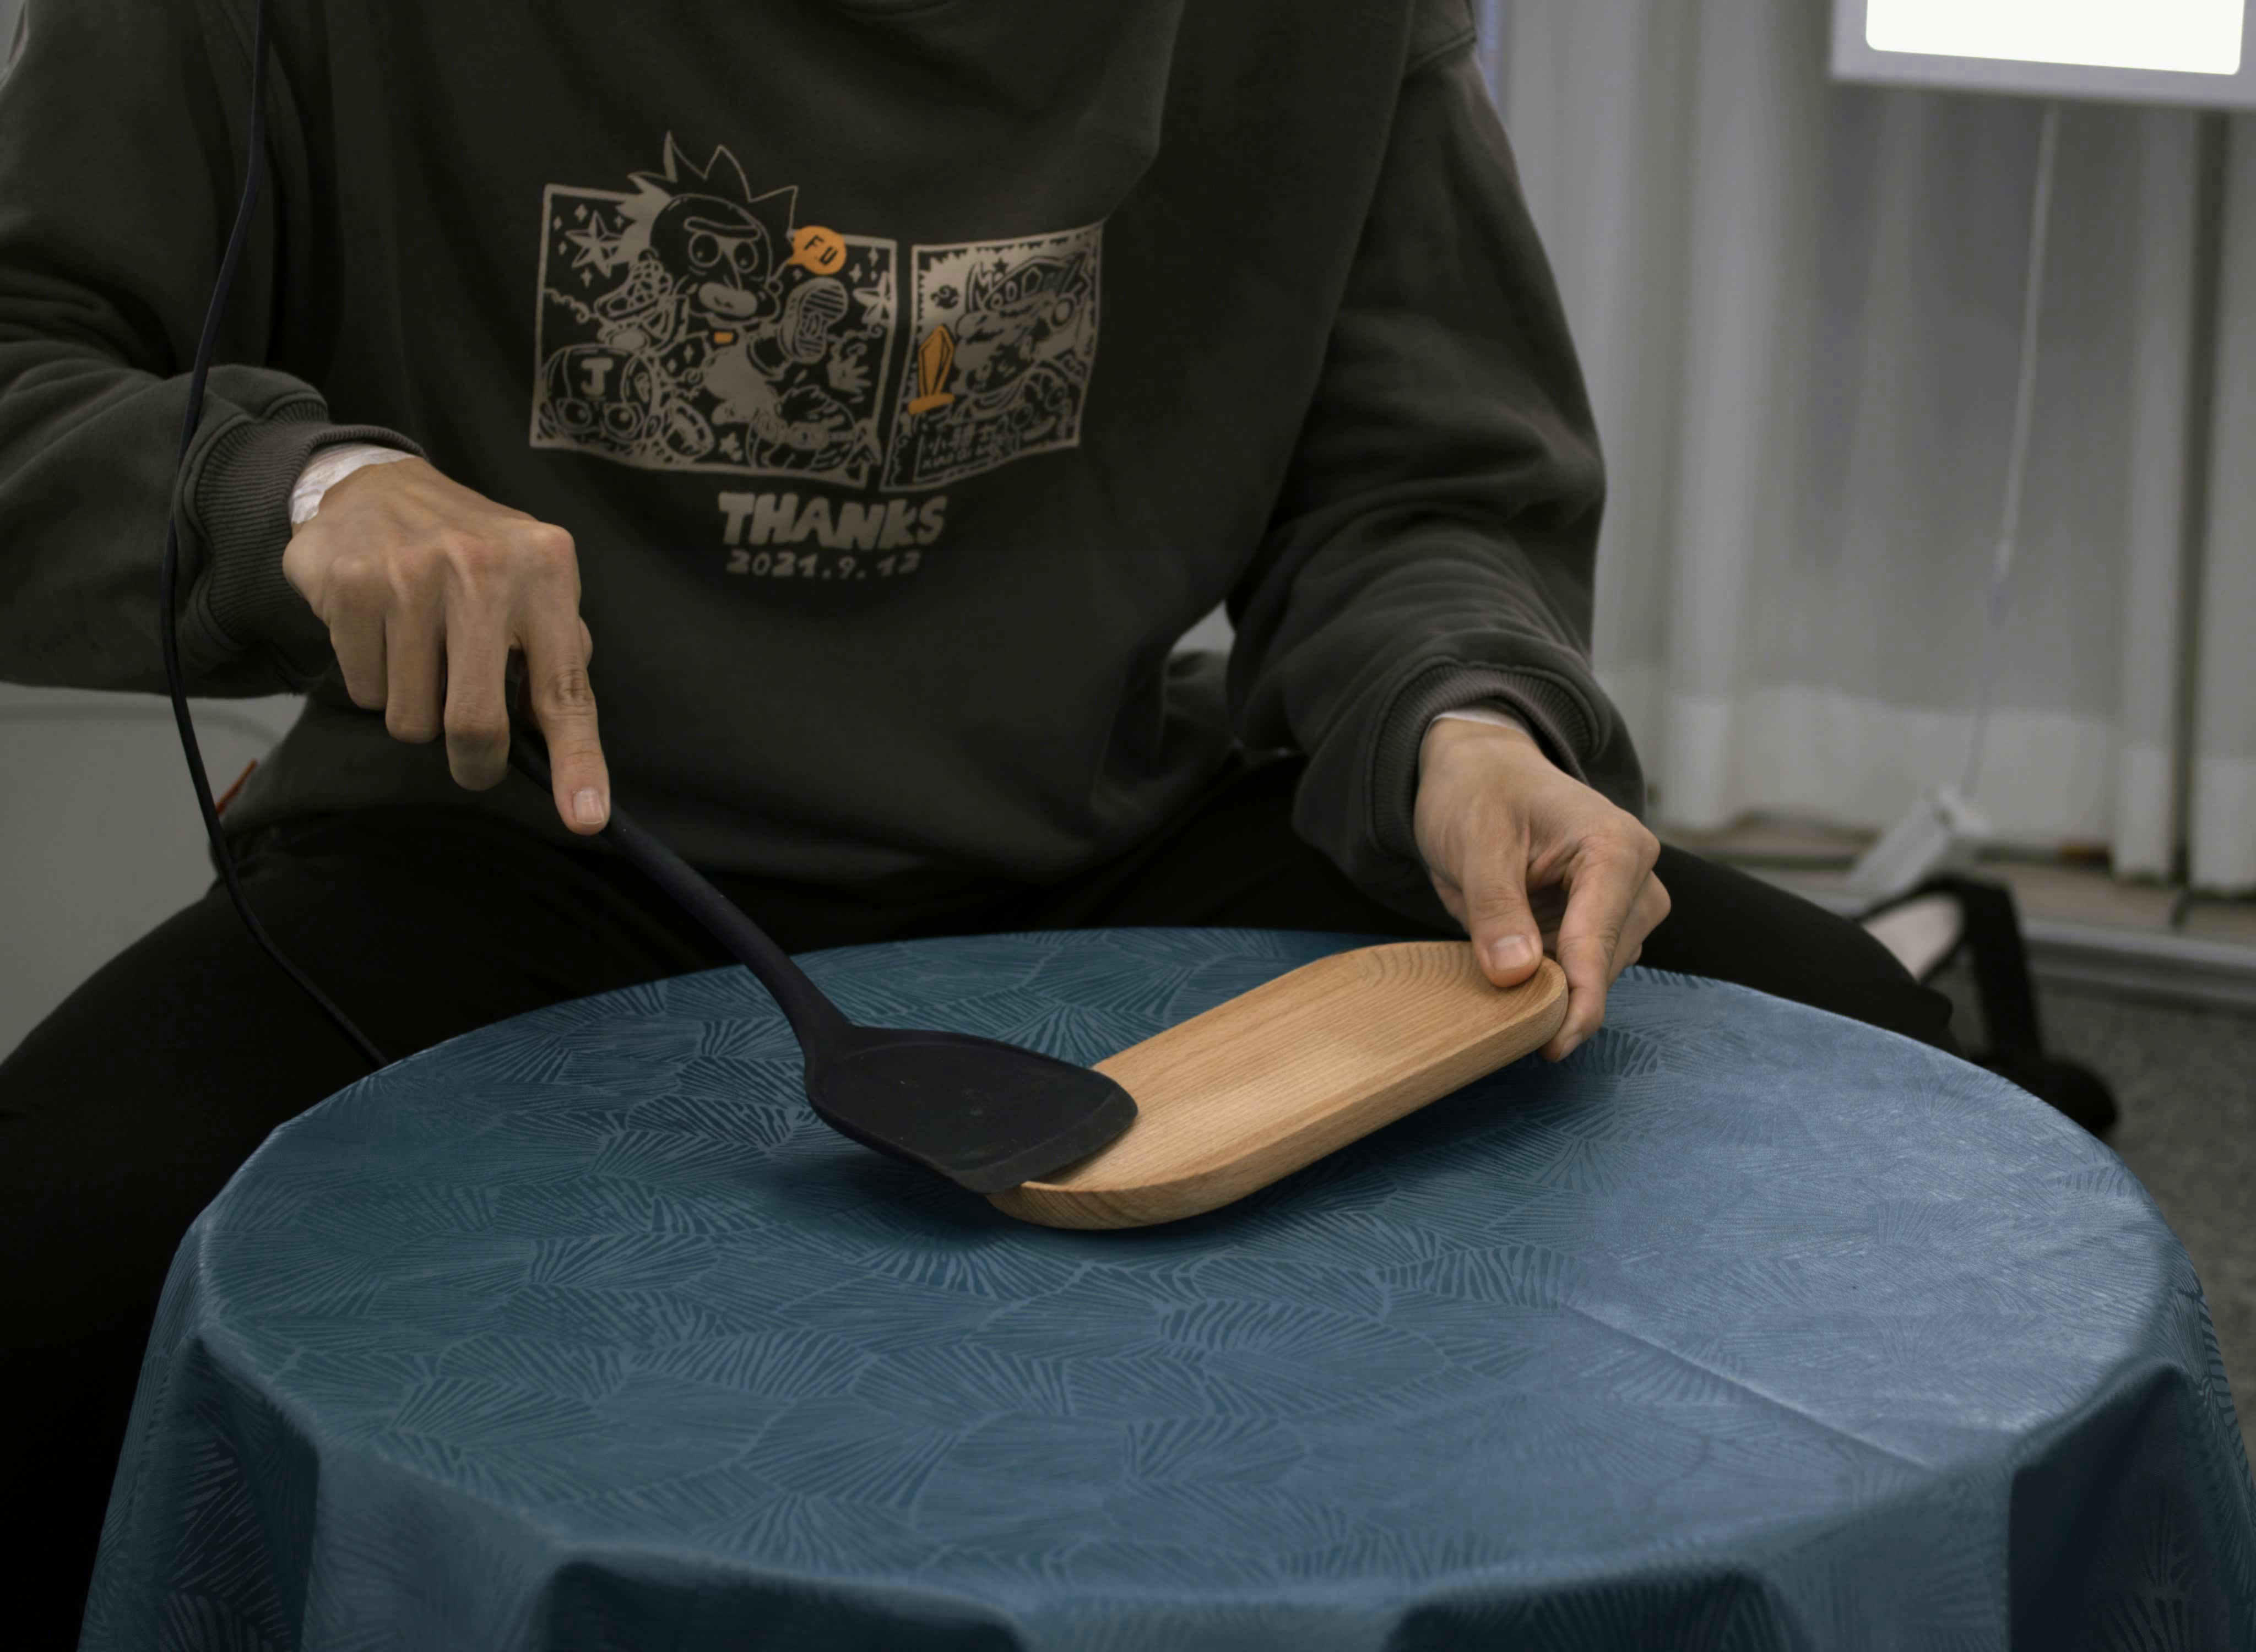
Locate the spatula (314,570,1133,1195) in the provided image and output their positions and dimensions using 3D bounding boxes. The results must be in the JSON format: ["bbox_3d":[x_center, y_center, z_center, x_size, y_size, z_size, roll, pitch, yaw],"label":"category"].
[{"bbox_3d":[-0.141,0.012,1.665,0.324,0.040,0.100,42,31,15],"label":"spatula"}]

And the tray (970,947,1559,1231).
[{"bbox_3d":[0.045,0.082,1.669,0.100,0.020,0.232,10,25,43],"label":"tray"}]
